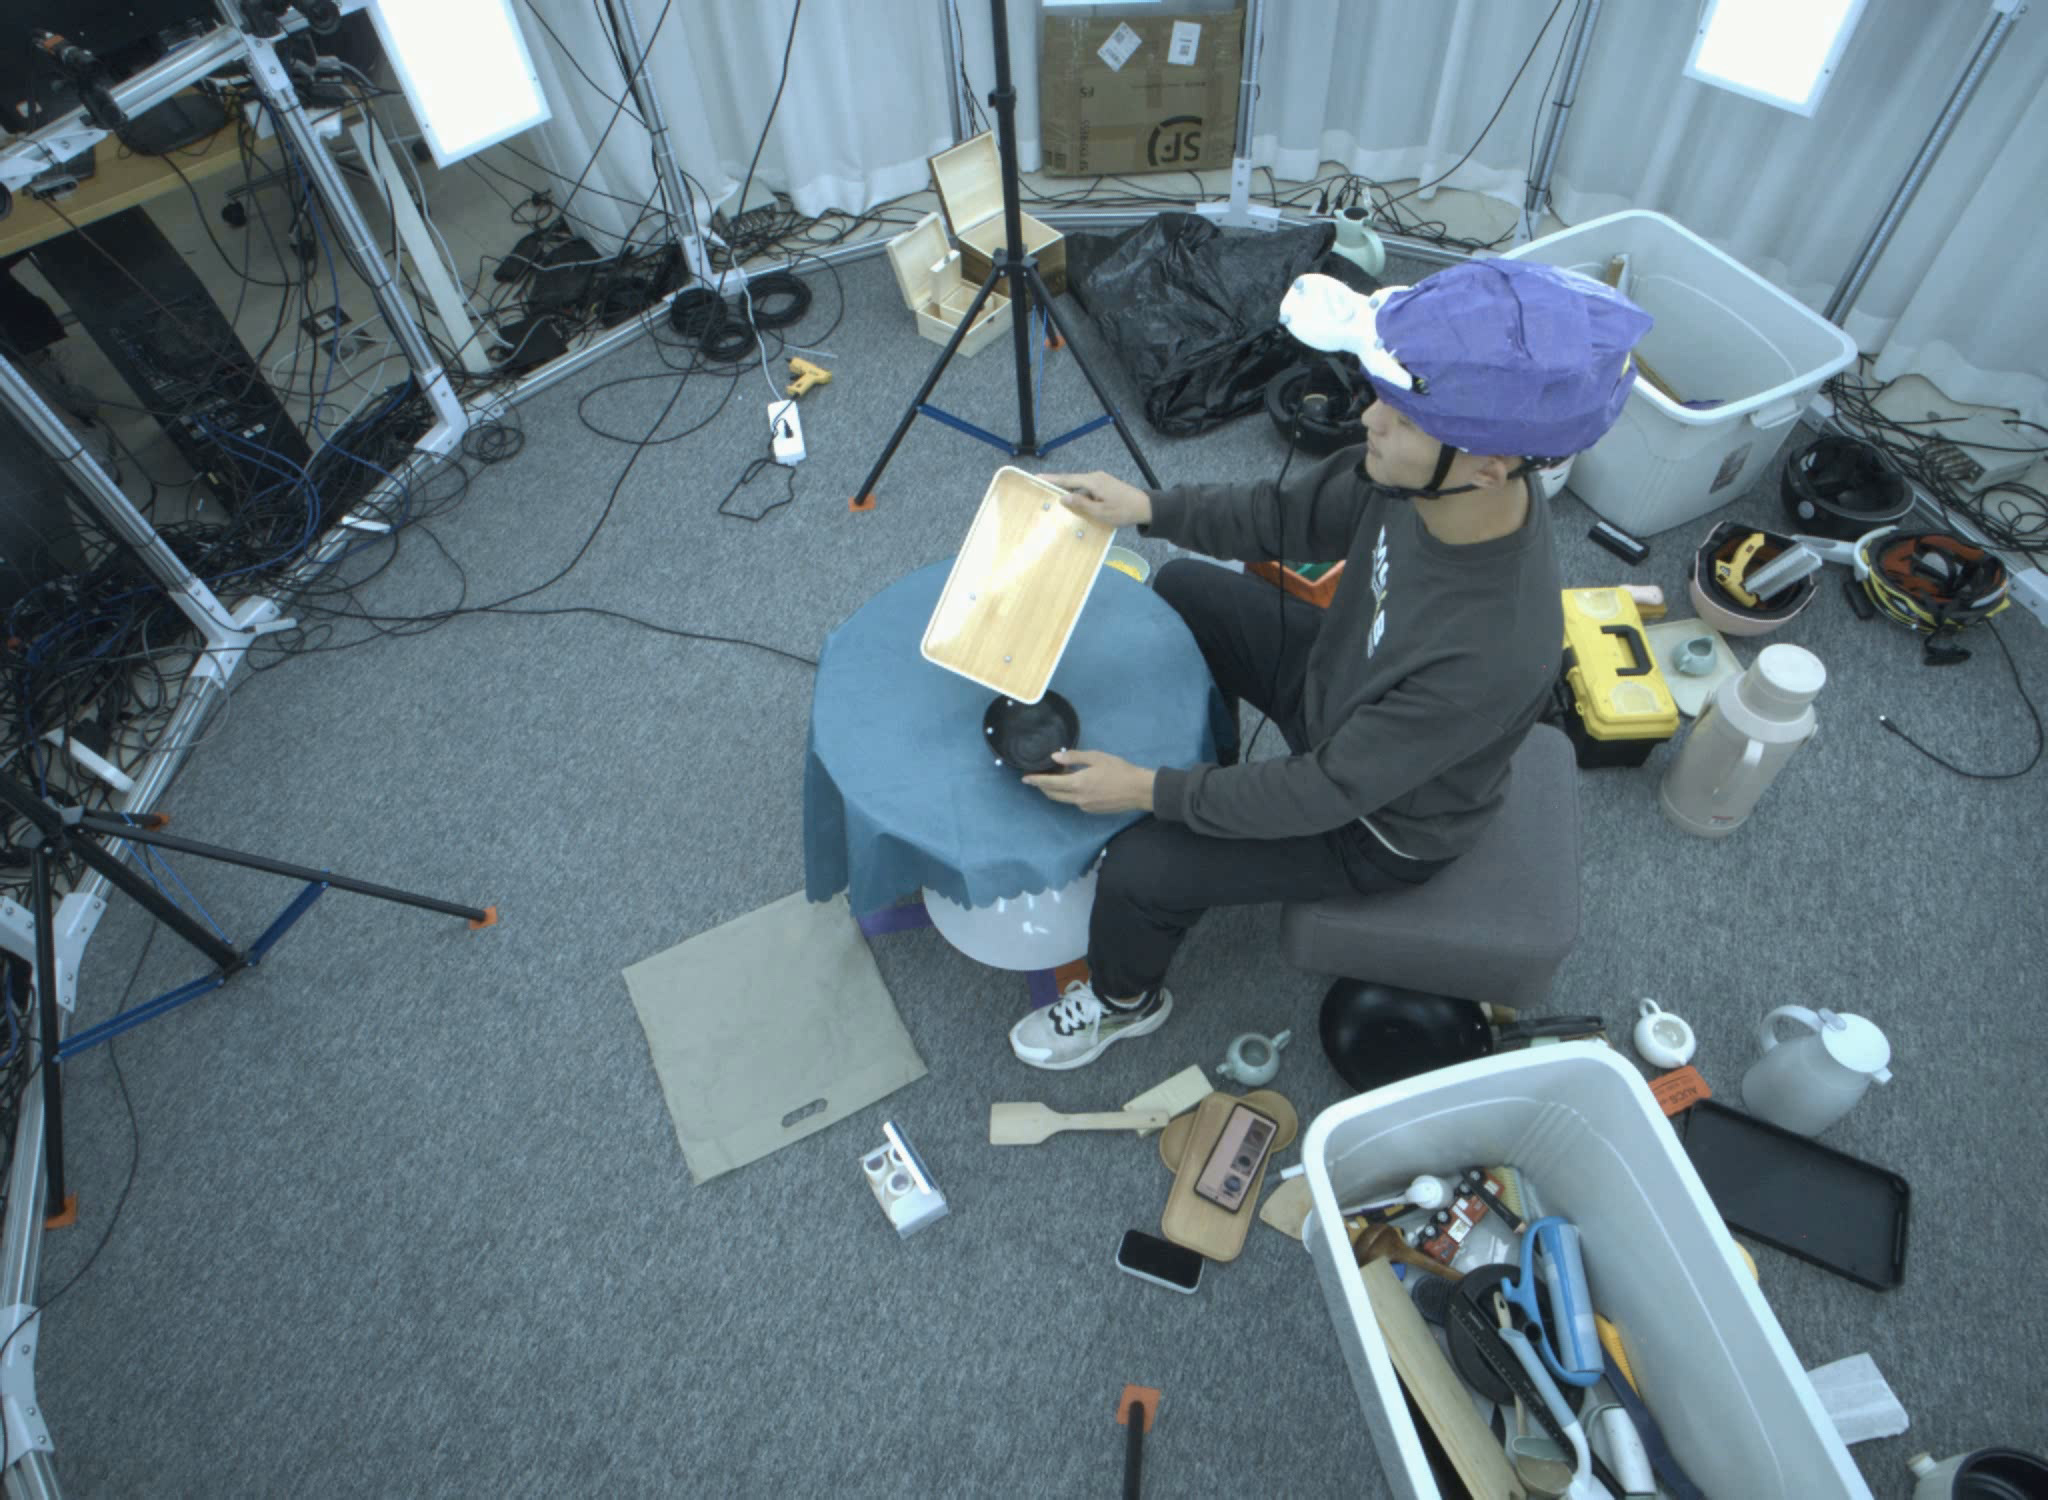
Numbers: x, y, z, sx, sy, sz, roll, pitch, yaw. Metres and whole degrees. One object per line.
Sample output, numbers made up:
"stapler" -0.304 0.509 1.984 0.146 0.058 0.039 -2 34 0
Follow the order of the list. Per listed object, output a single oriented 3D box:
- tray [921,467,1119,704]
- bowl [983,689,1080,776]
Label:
"tray" -0.006 -0.235 1.758 0.193 0.027 0.300 24 94 -7
"bowl" 0.011 -0.017 1.756 0.138 0.067 0.167 -8 47 -6
